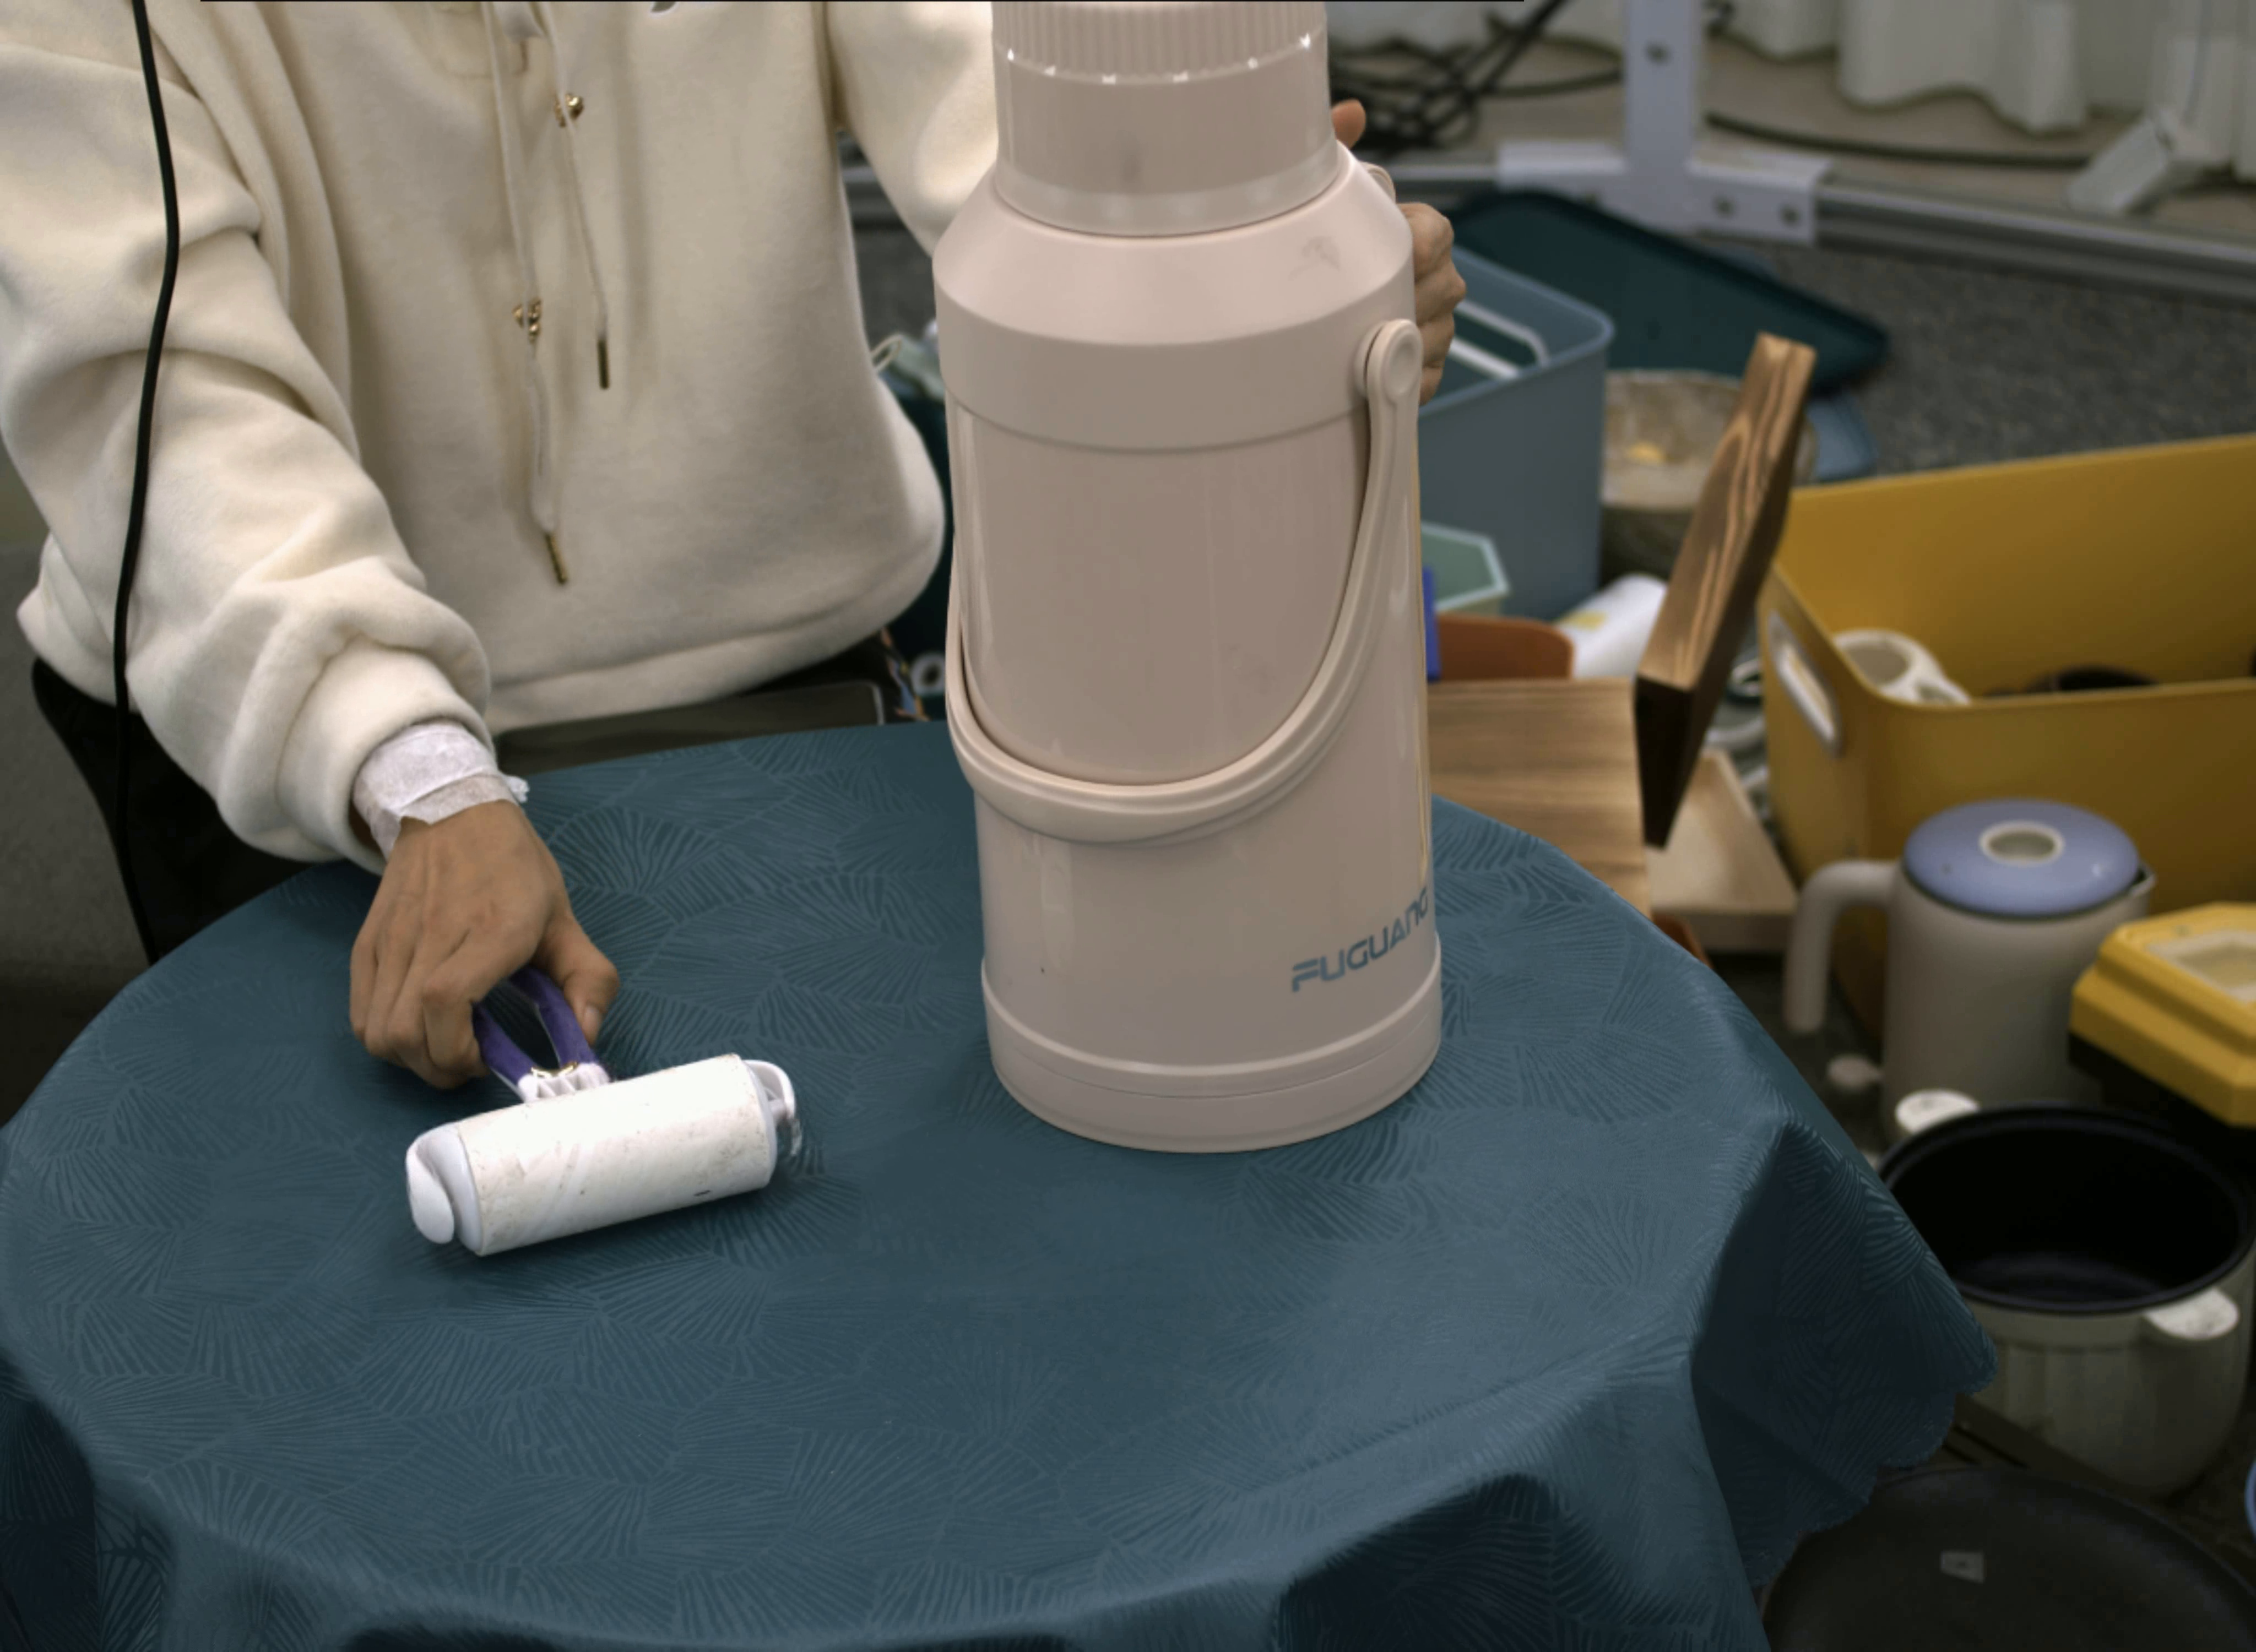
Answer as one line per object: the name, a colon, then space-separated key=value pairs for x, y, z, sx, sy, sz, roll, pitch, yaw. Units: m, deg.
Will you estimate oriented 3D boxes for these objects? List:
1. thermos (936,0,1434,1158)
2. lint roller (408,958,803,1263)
thermos: x=0.028 y=-0.106 z=1.873 sx=0.174 sy=0.402 sz=0.210 roll=14 pitch=31 yaw=32
lint roller: x=-0.193 y=0.078 z=1.906 sx=0.133 sy=0.049 sz=0.183 roll=-12 pitch=34 yaw=-16
